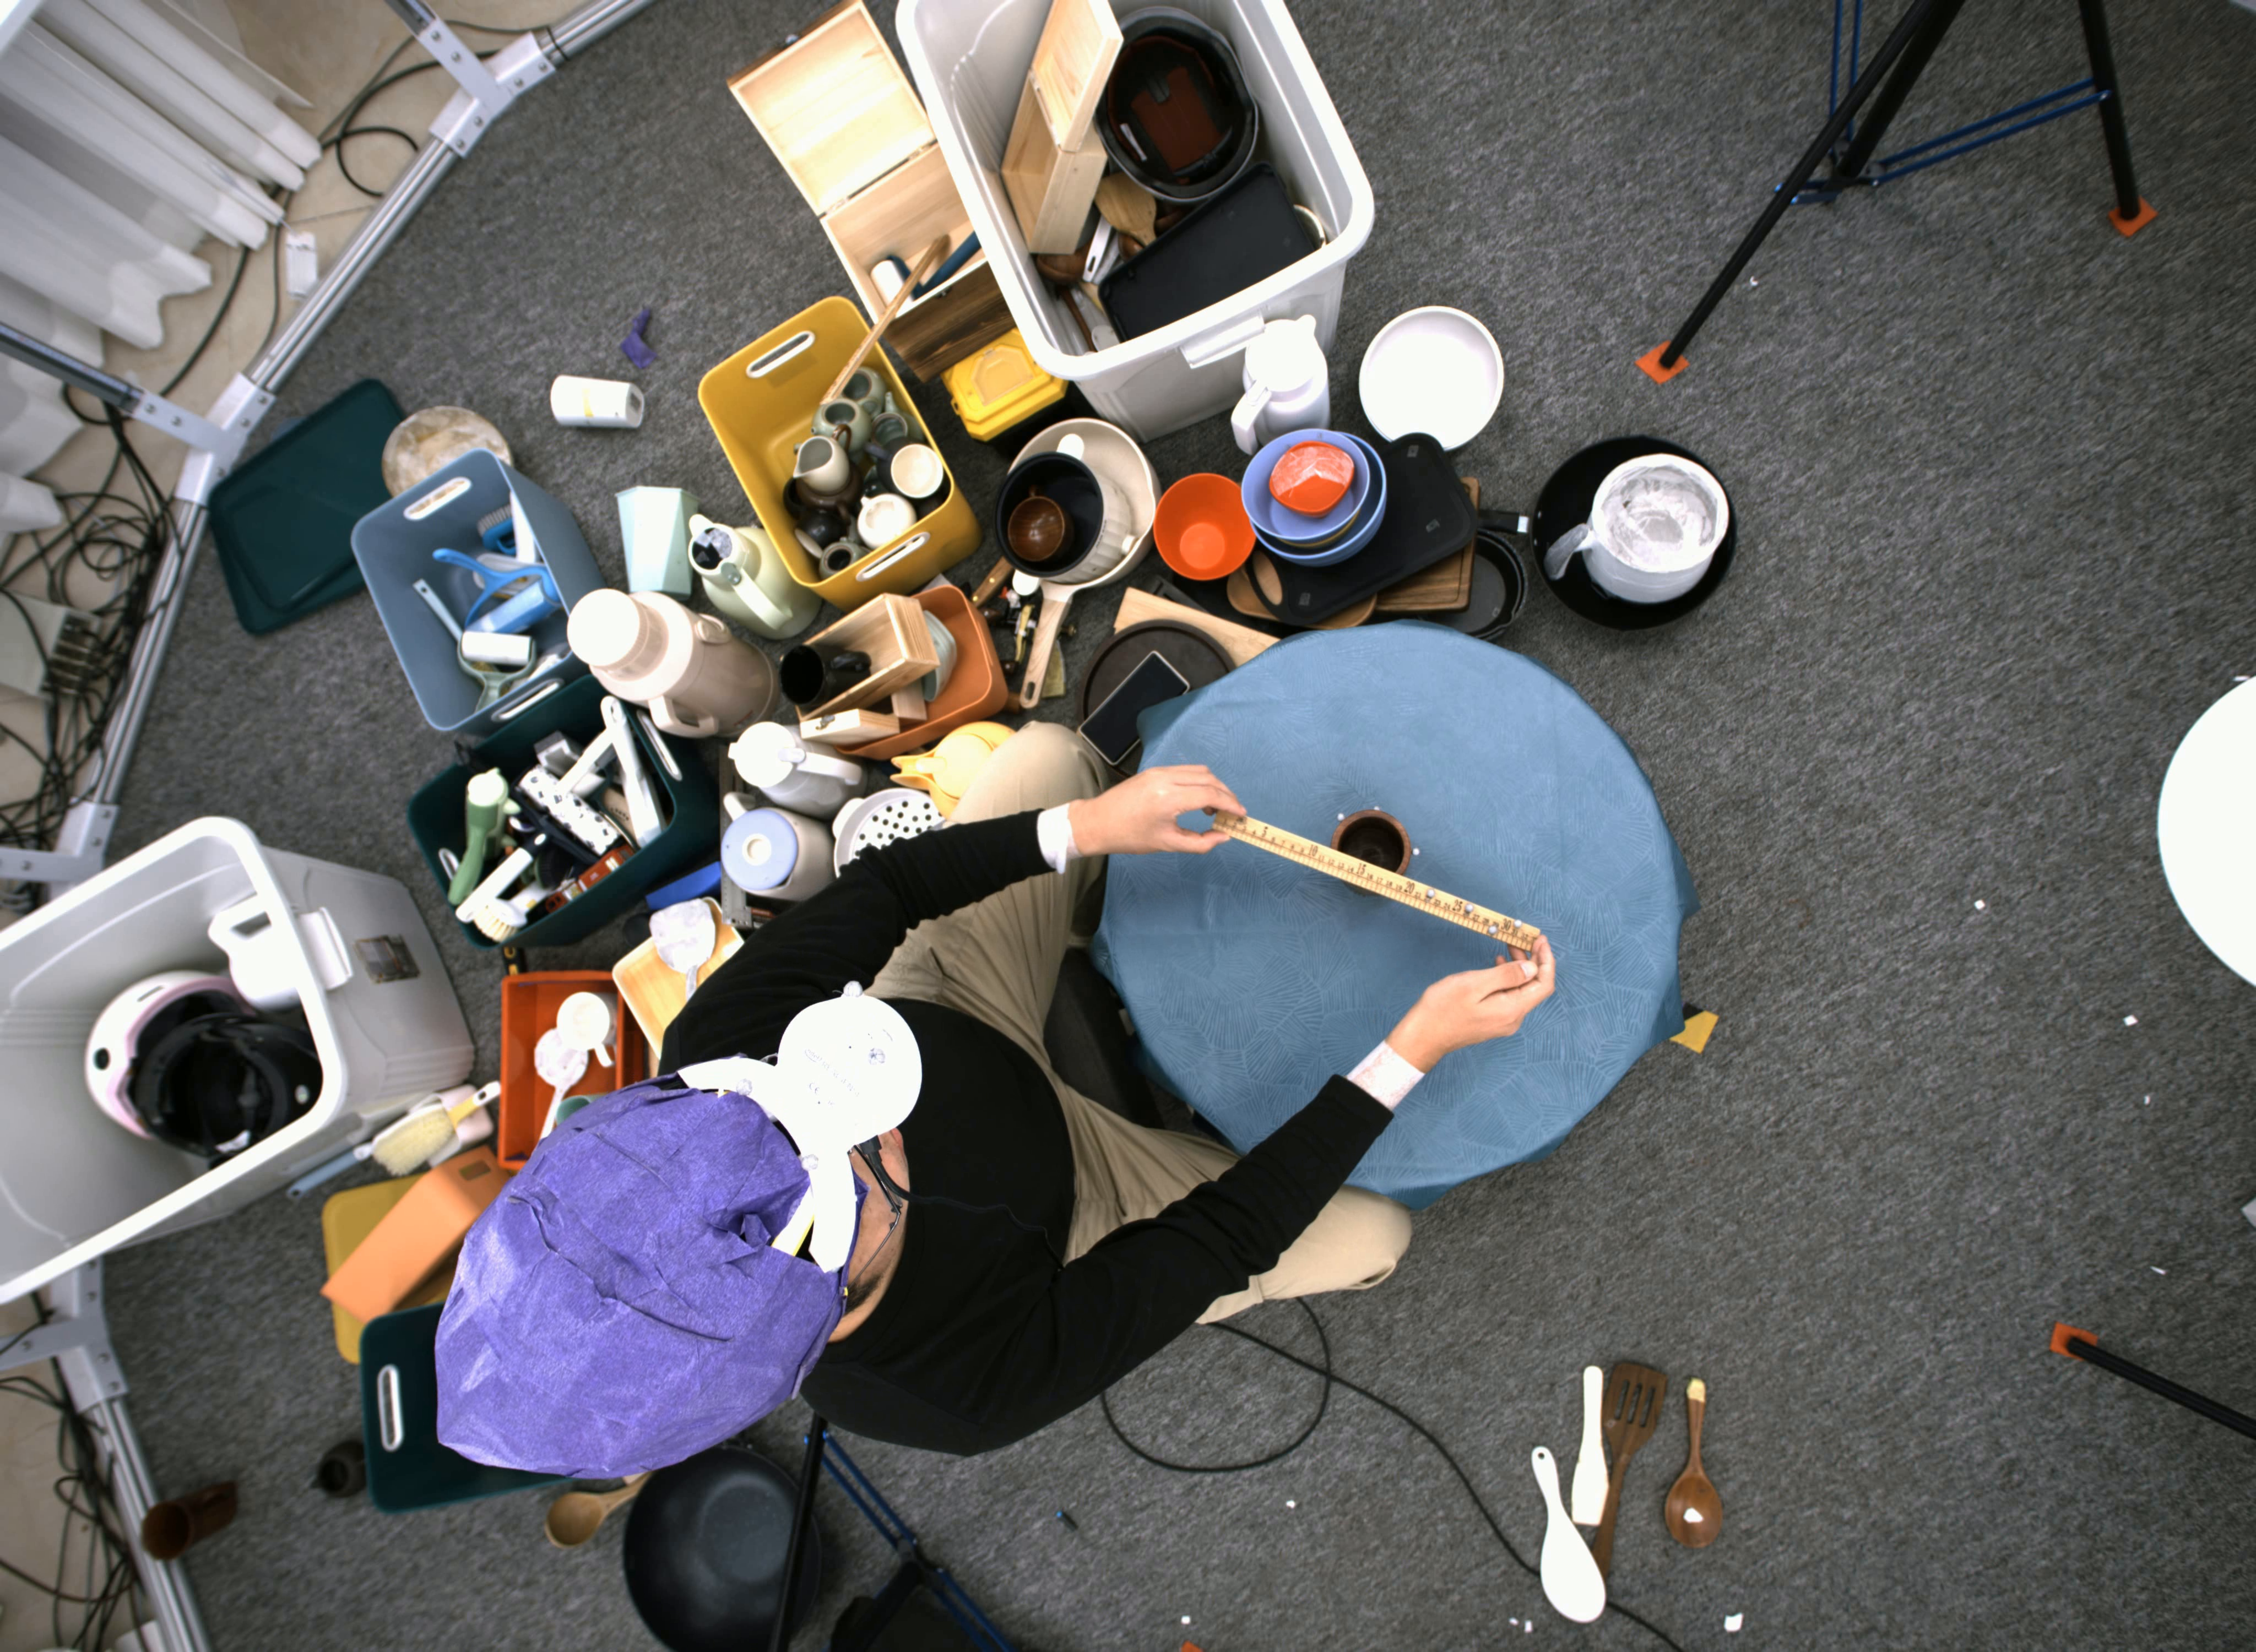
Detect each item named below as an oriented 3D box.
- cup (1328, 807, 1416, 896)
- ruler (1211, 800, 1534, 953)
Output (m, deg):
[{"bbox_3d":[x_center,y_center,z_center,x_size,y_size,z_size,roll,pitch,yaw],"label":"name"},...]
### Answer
[{"bbox_3d":[0.249,0.027,1.407,0.088,0.118,0.087,-1,84,11],"label":"cup"},{"bbox_3d":[0.238,0.047,1.339,0.332,0.022,0.027,22,75,3],"label":"ruler"}]
